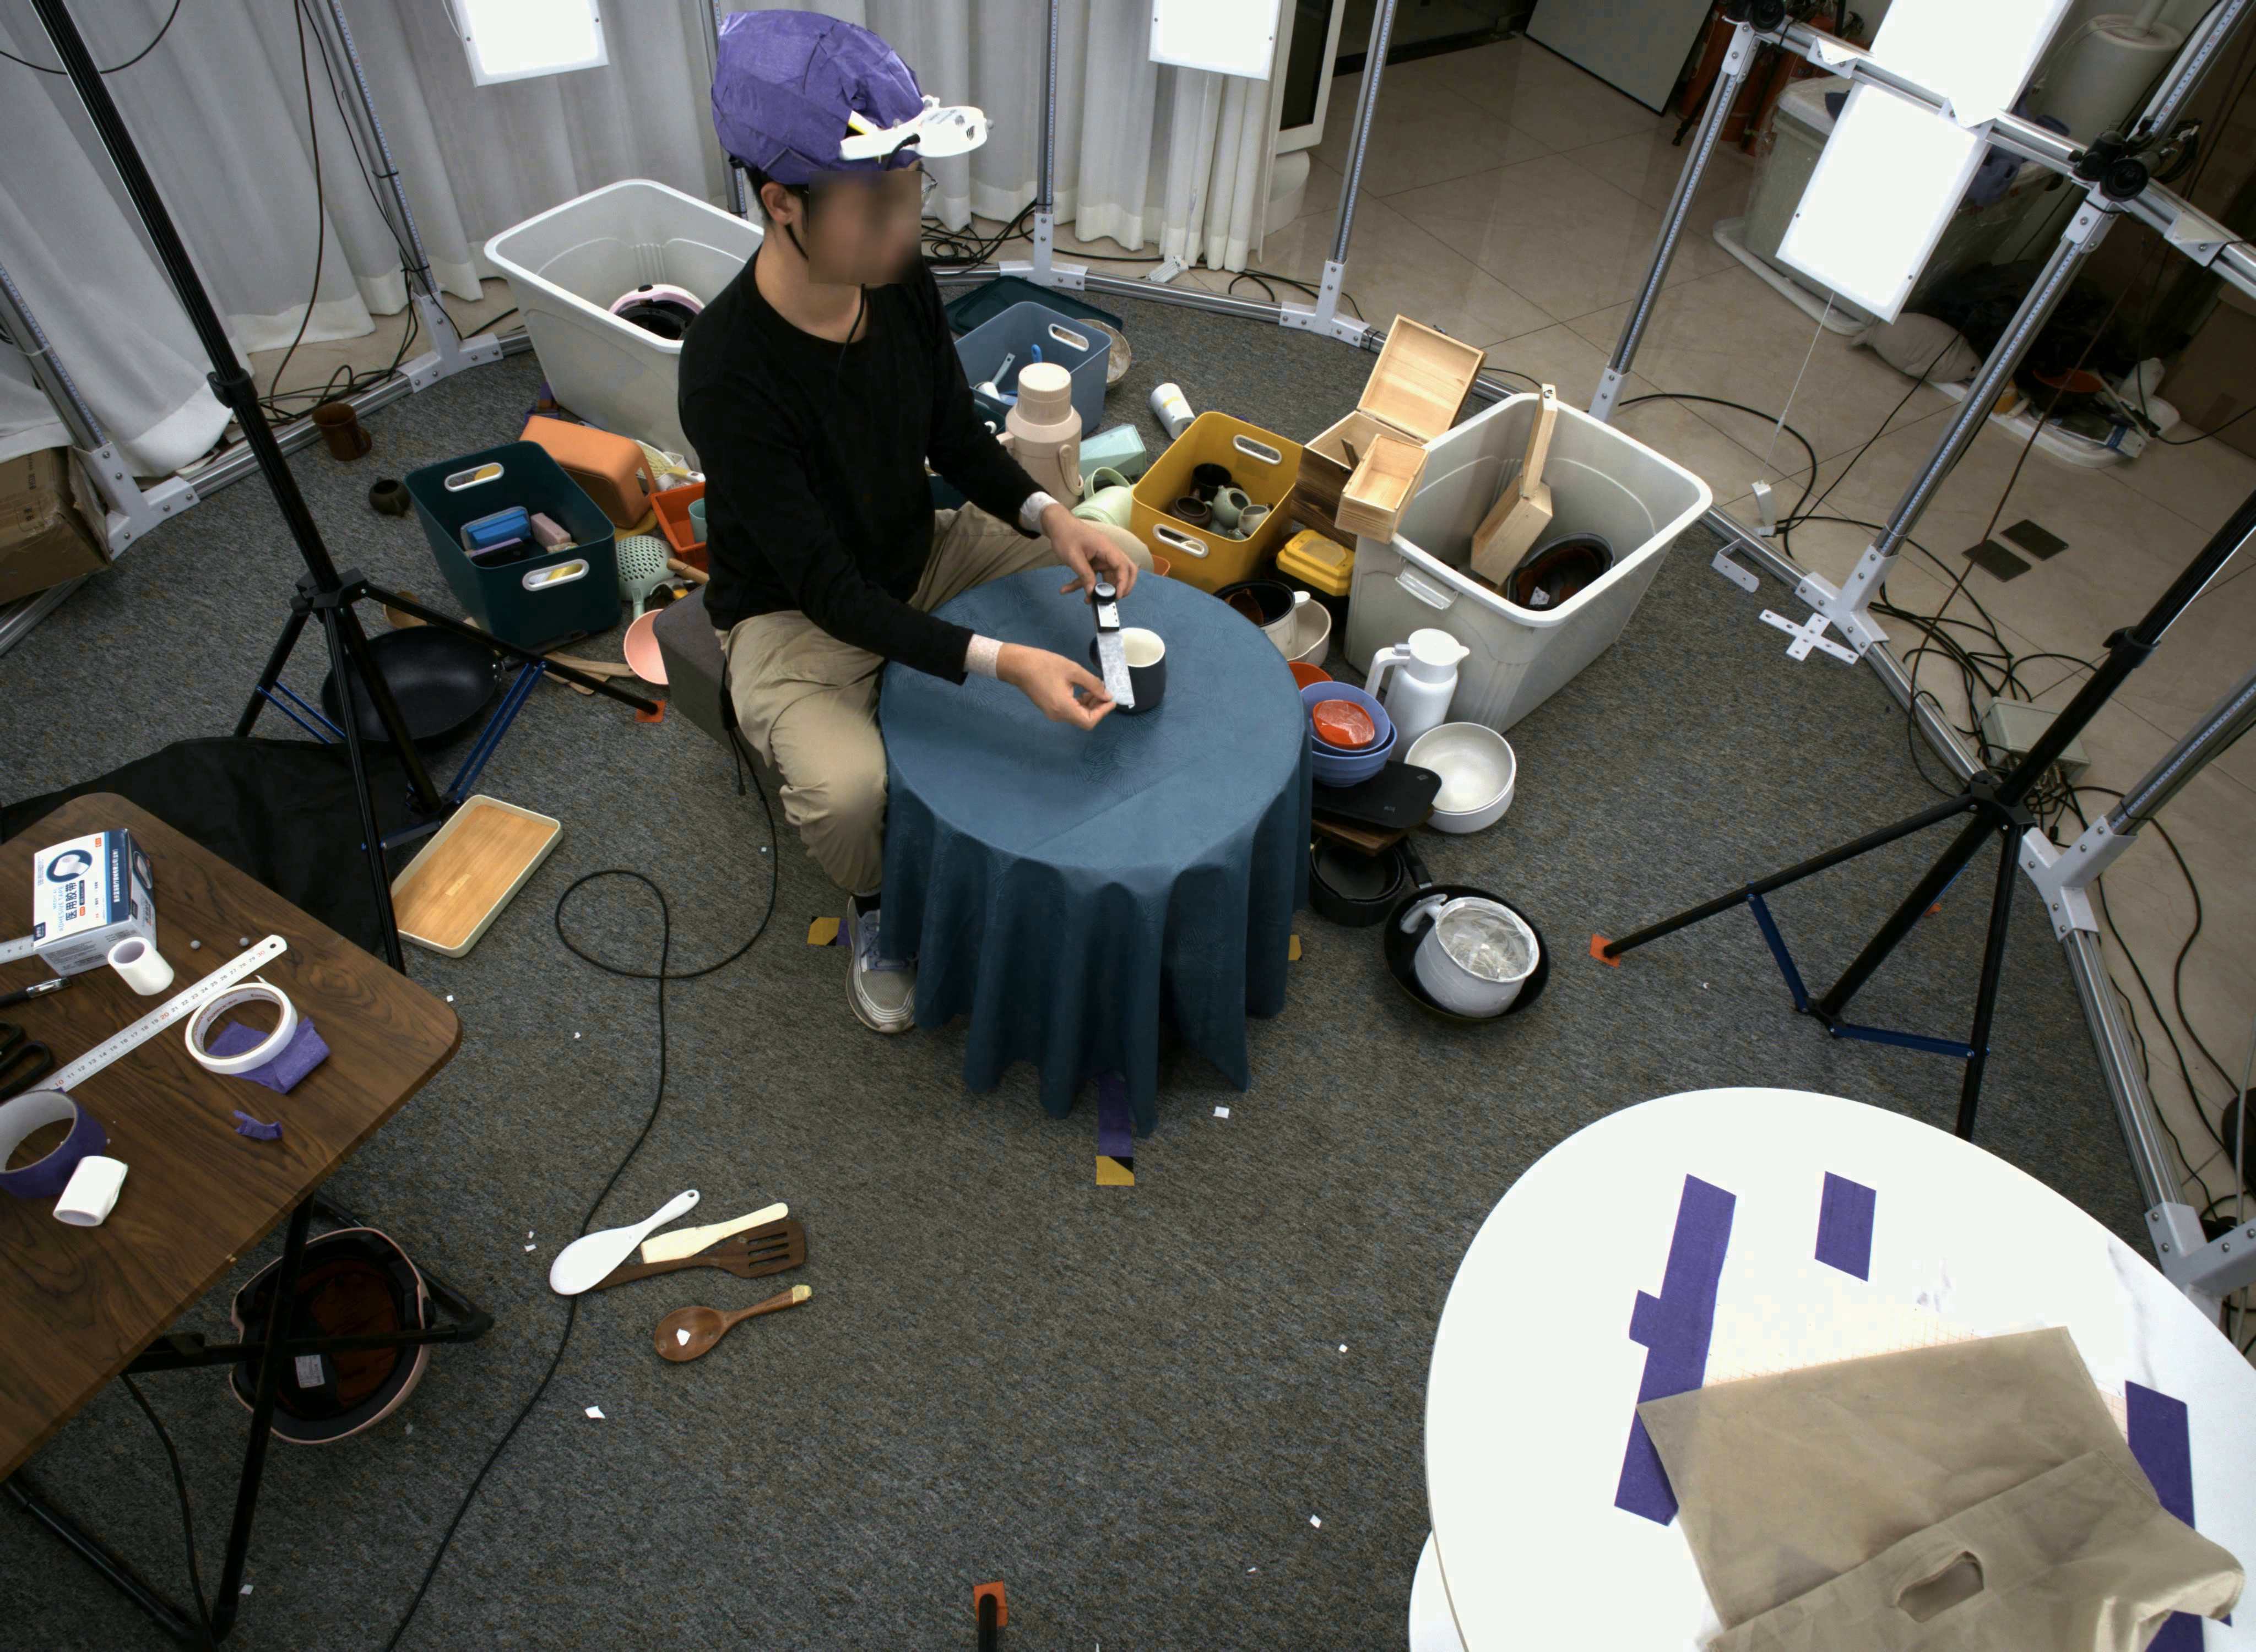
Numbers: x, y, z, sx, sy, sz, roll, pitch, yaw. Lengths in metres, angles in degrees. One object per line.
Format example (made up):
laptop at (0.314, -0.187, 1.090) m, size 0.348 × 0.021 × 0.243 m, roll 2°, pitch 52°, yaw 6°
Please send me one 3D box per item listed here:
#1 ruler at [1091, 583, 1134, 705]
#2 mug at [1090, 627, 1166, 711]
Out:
ruler at (-0.023, -0.252, 1.752) m, size 0.038 × 0.023 × 0.224 m, roll -4°, pitch 51°, yaw -6°
mug at (-0.003, -0.228, 1.807) m, size 0.125 × 0.088 × 0.094 m, roll 35°, pitch 55°, yaw 22°
